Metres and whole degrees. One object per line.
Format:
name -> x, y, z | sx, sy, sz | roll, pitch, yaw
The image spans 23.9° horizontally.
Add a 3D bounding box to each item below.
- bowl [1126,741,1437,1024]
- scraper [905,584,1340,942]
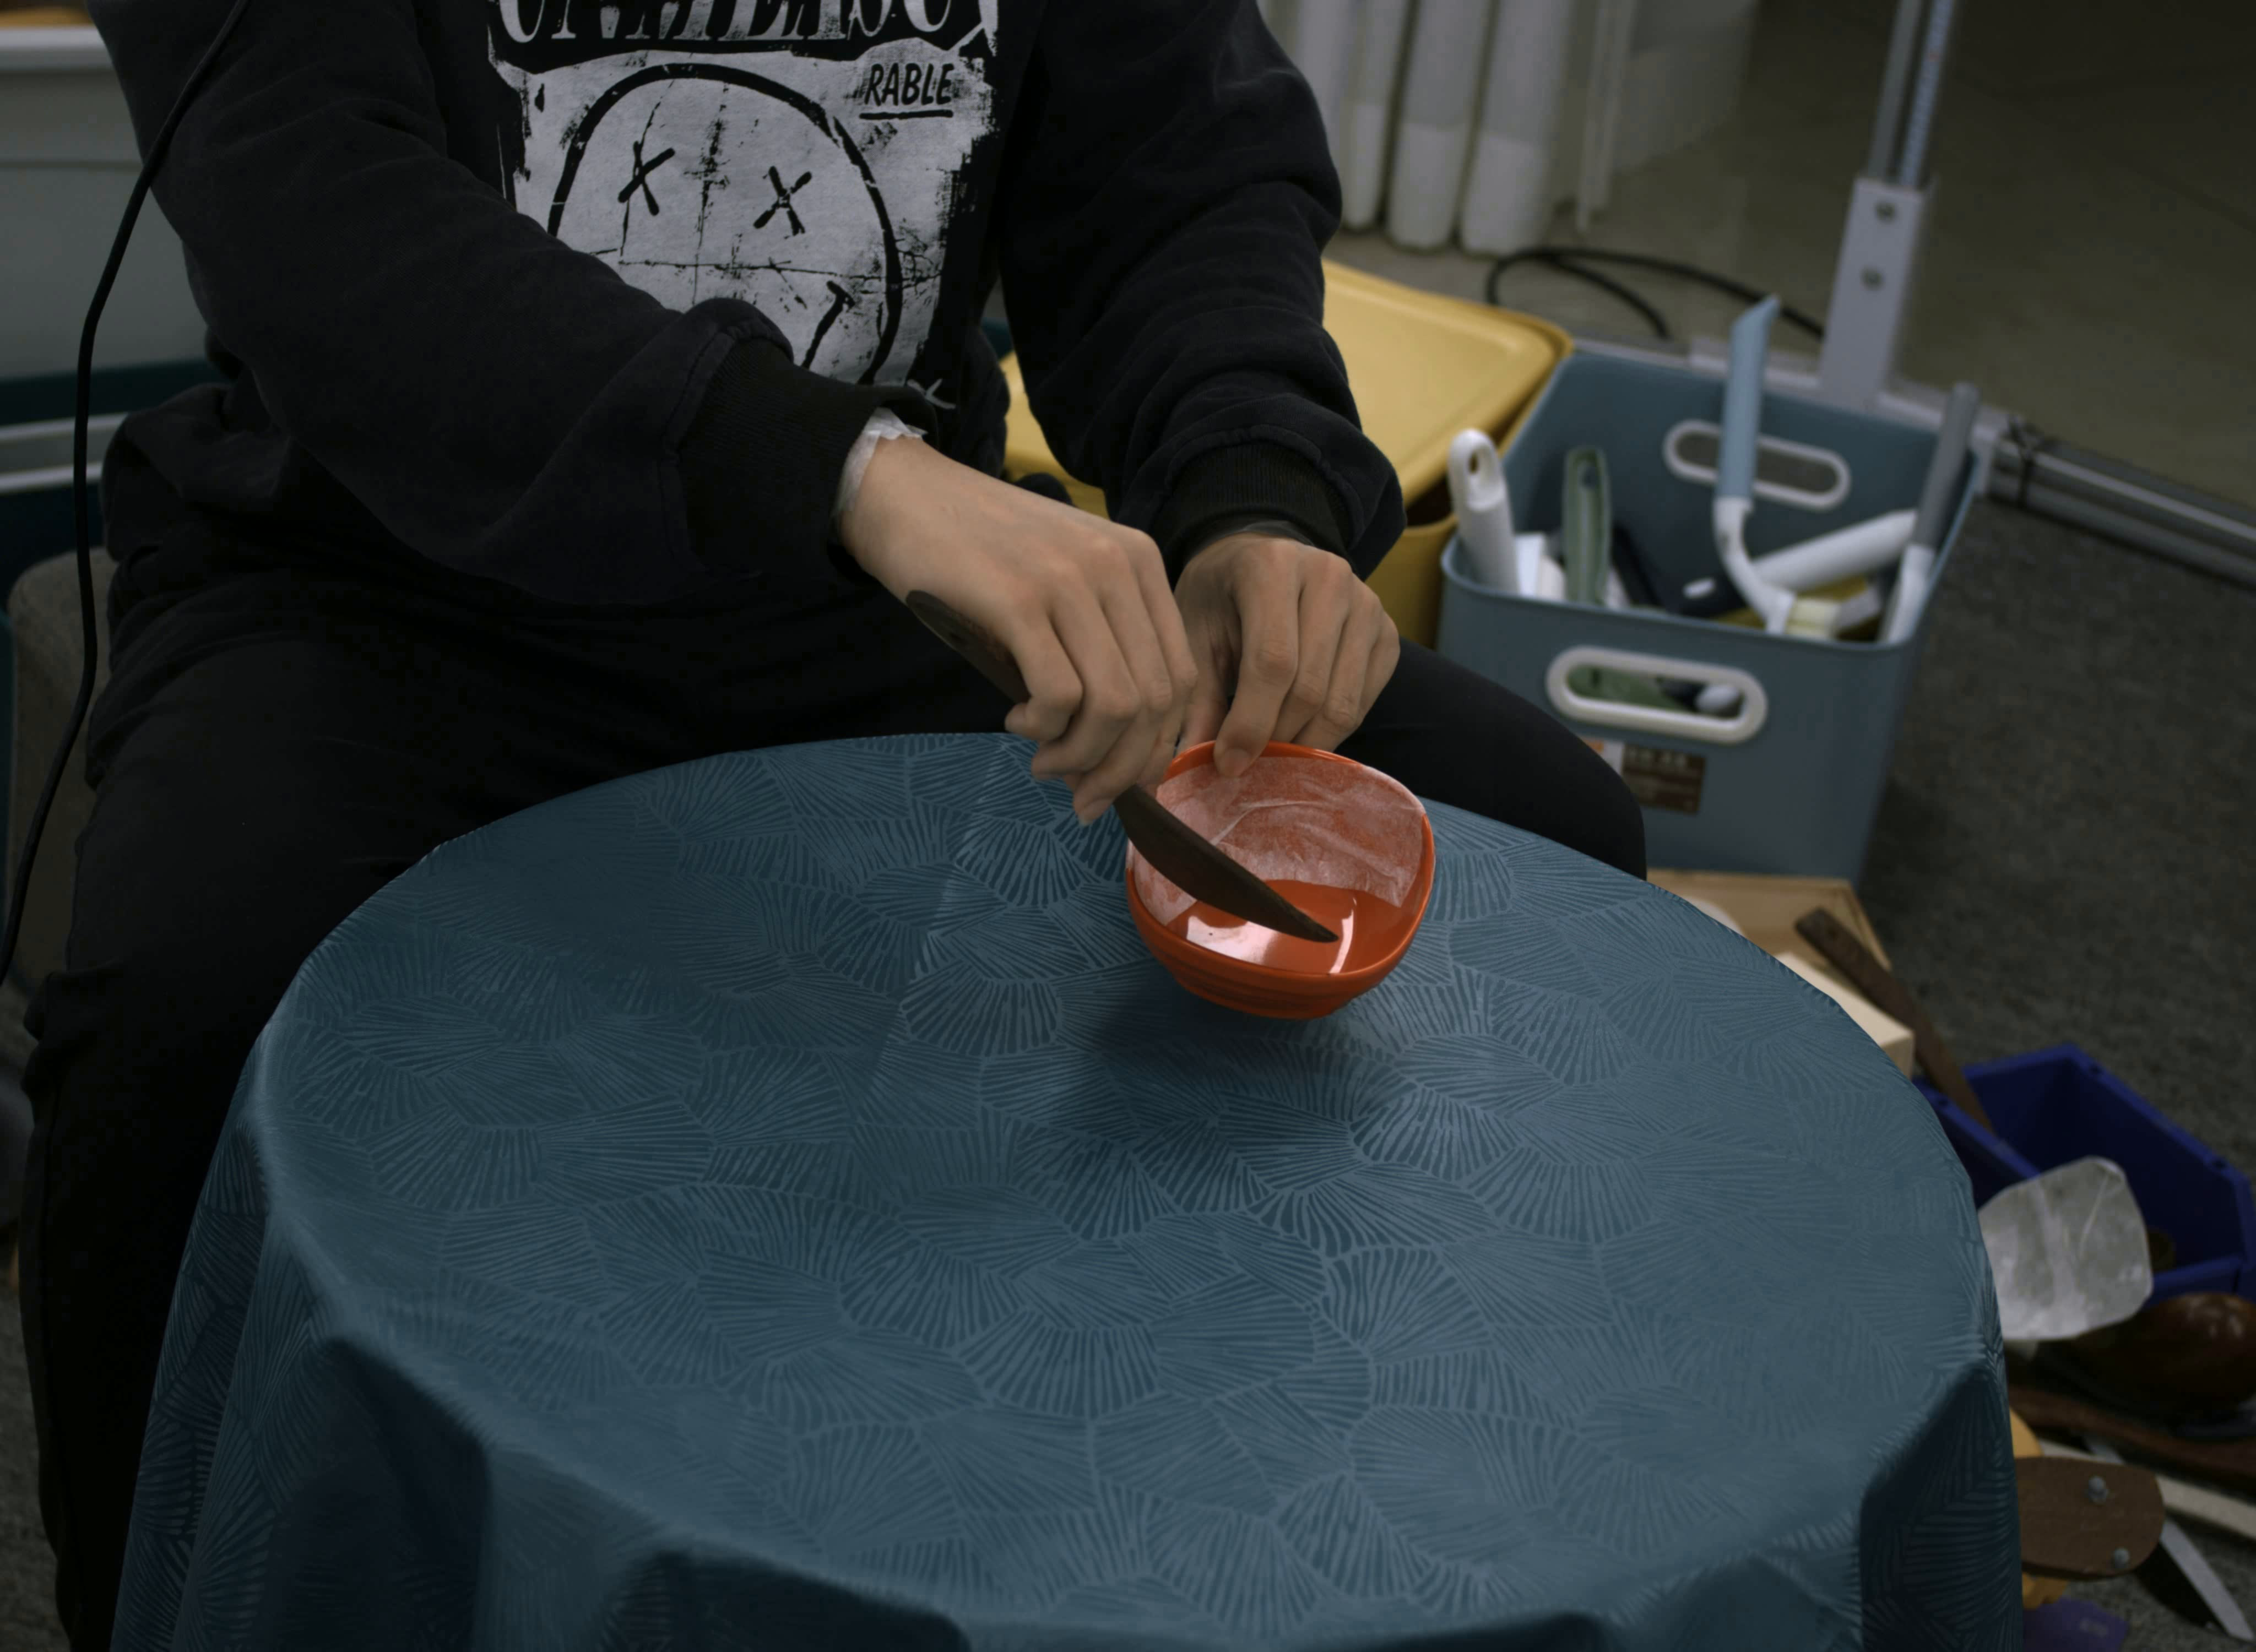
bowl -> 0.052, 0.028, 1.909 | 0.118, 0.051, 0.120 | 3, 49, -4
scraper -> -0.007, -0.019, 1.824 | 0.076, 0.209, 0.011 | 14, 66, 51
